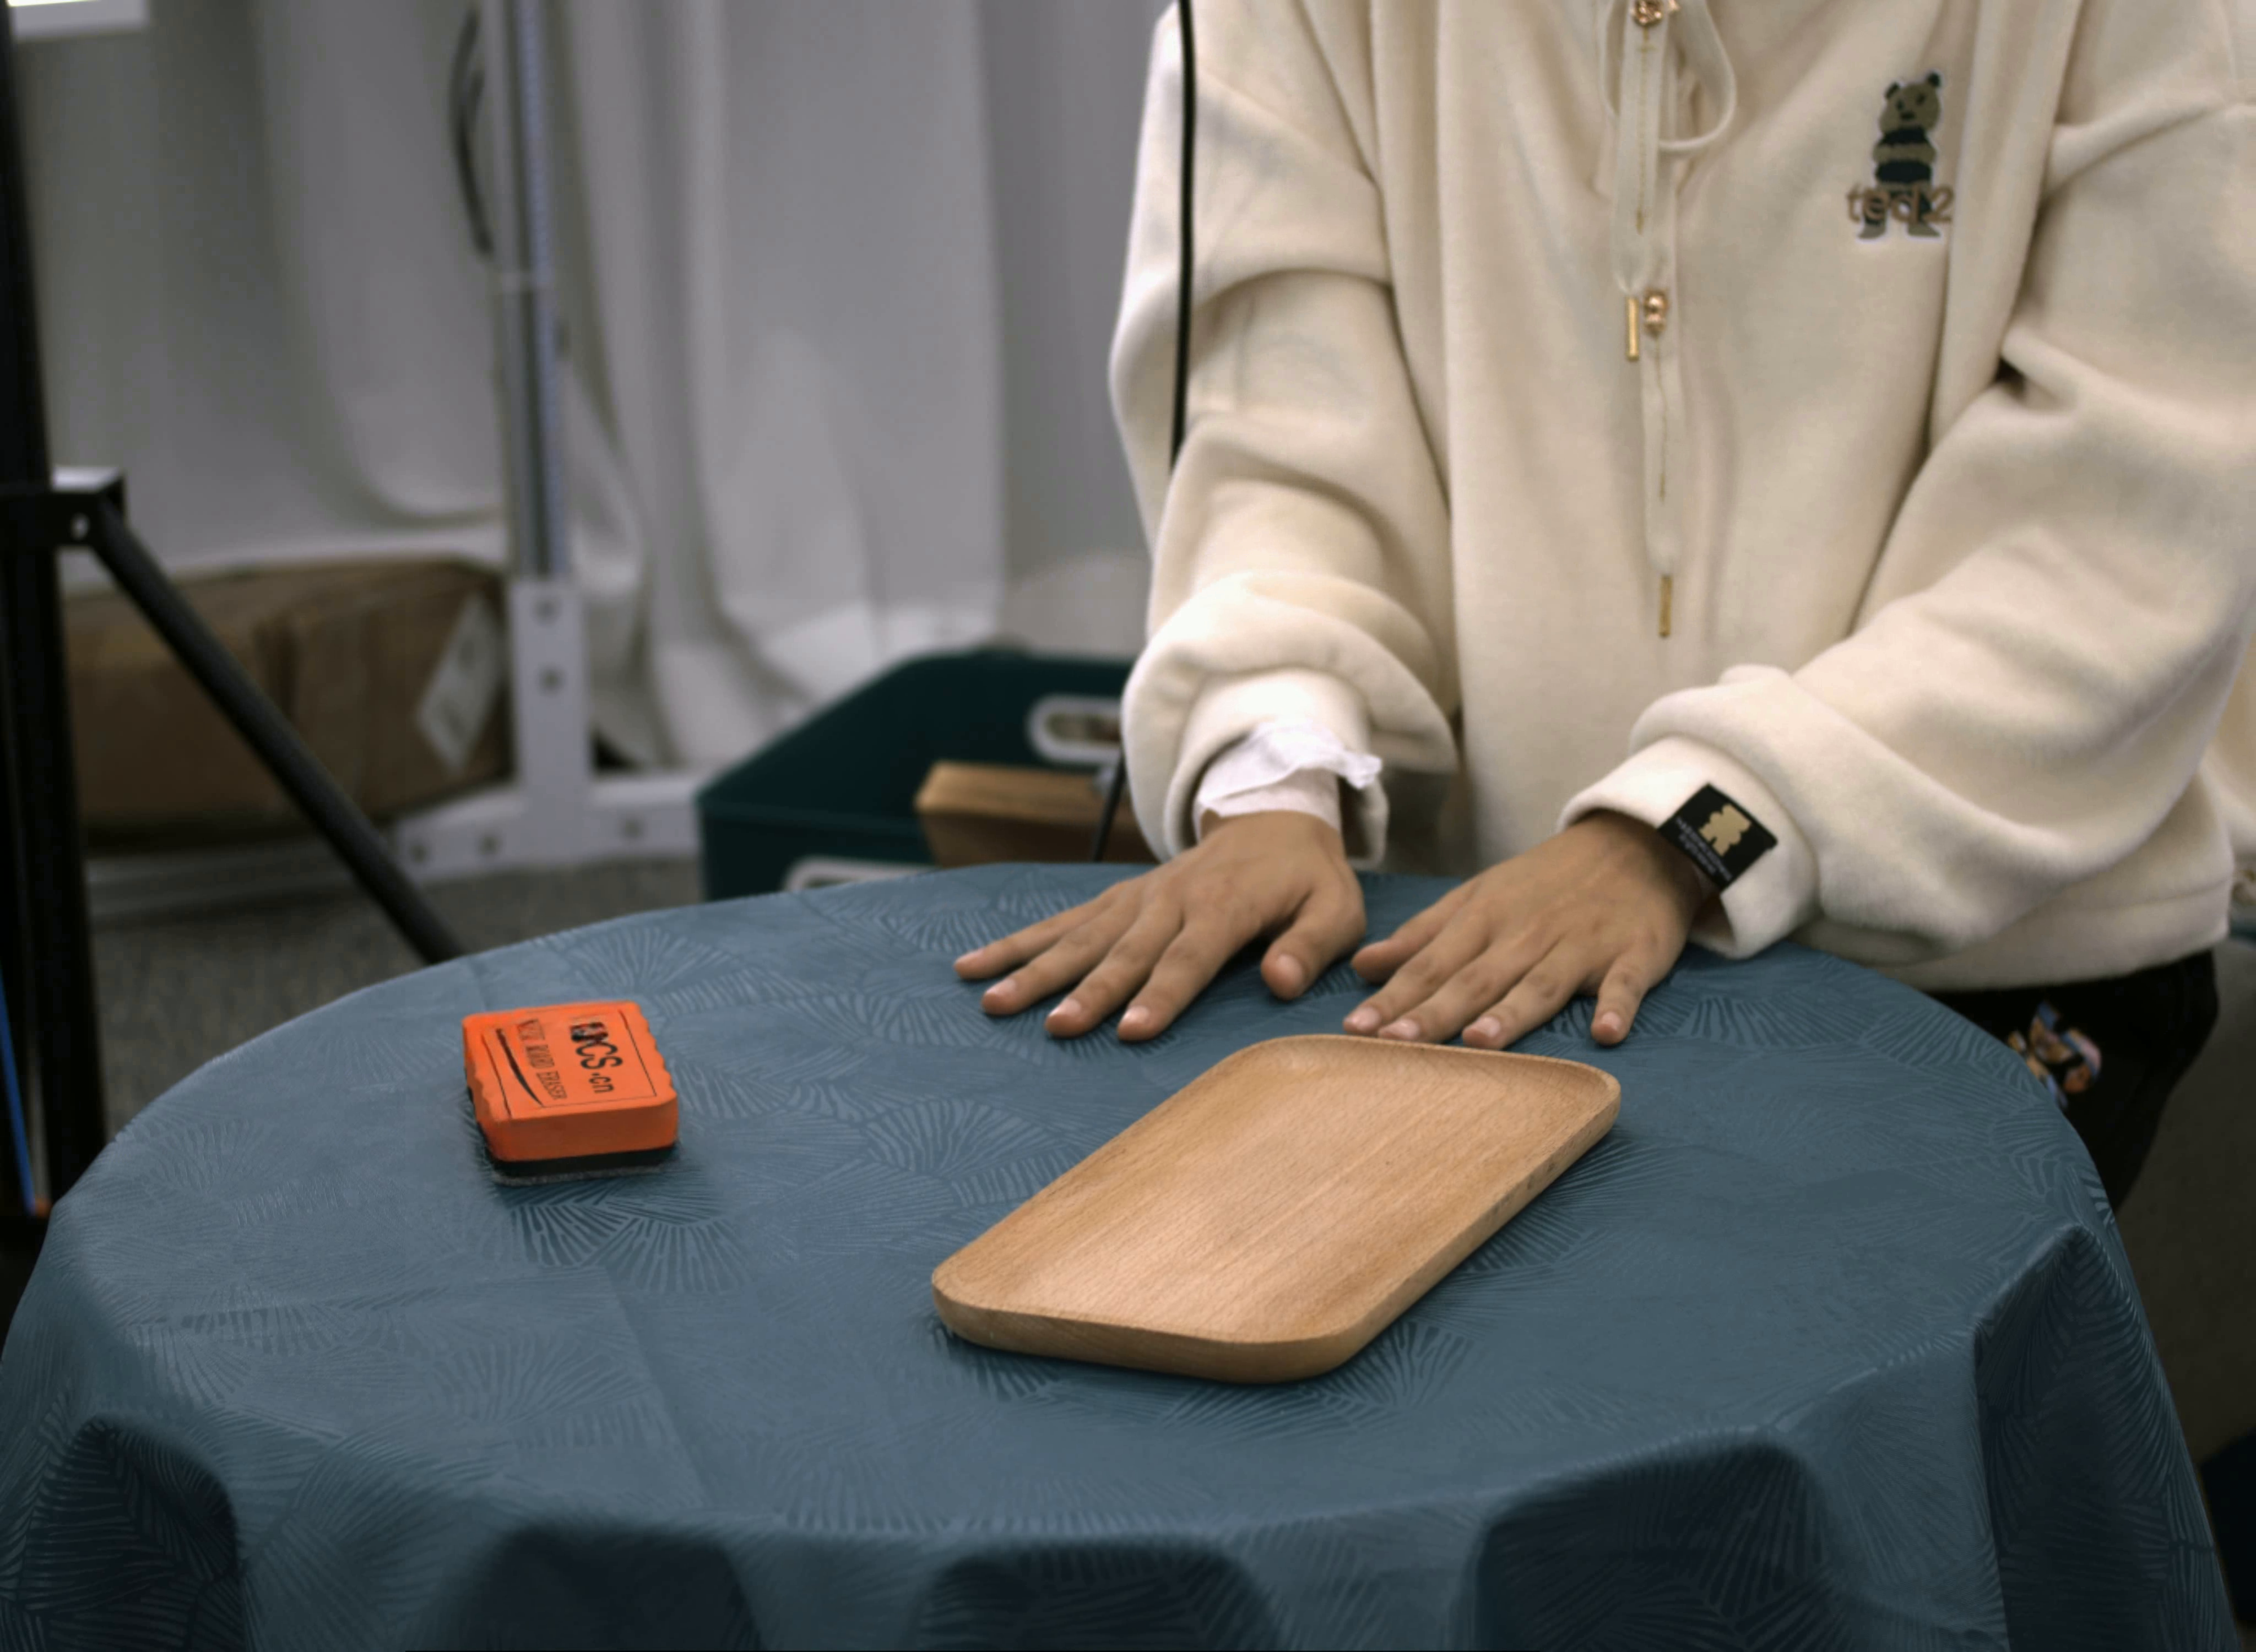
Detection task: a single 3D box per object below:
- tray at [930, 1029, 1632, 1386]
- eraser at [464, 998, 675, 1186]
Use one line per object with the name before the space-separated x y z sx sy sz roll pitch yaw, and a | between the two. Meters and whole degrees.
tray | 0.048 0.106 1.521 0.133 0.023 0.246 8 19 26
eraser | -0.172 0.081 1.639 0.058 0.023 0.109 -6 17 -9
